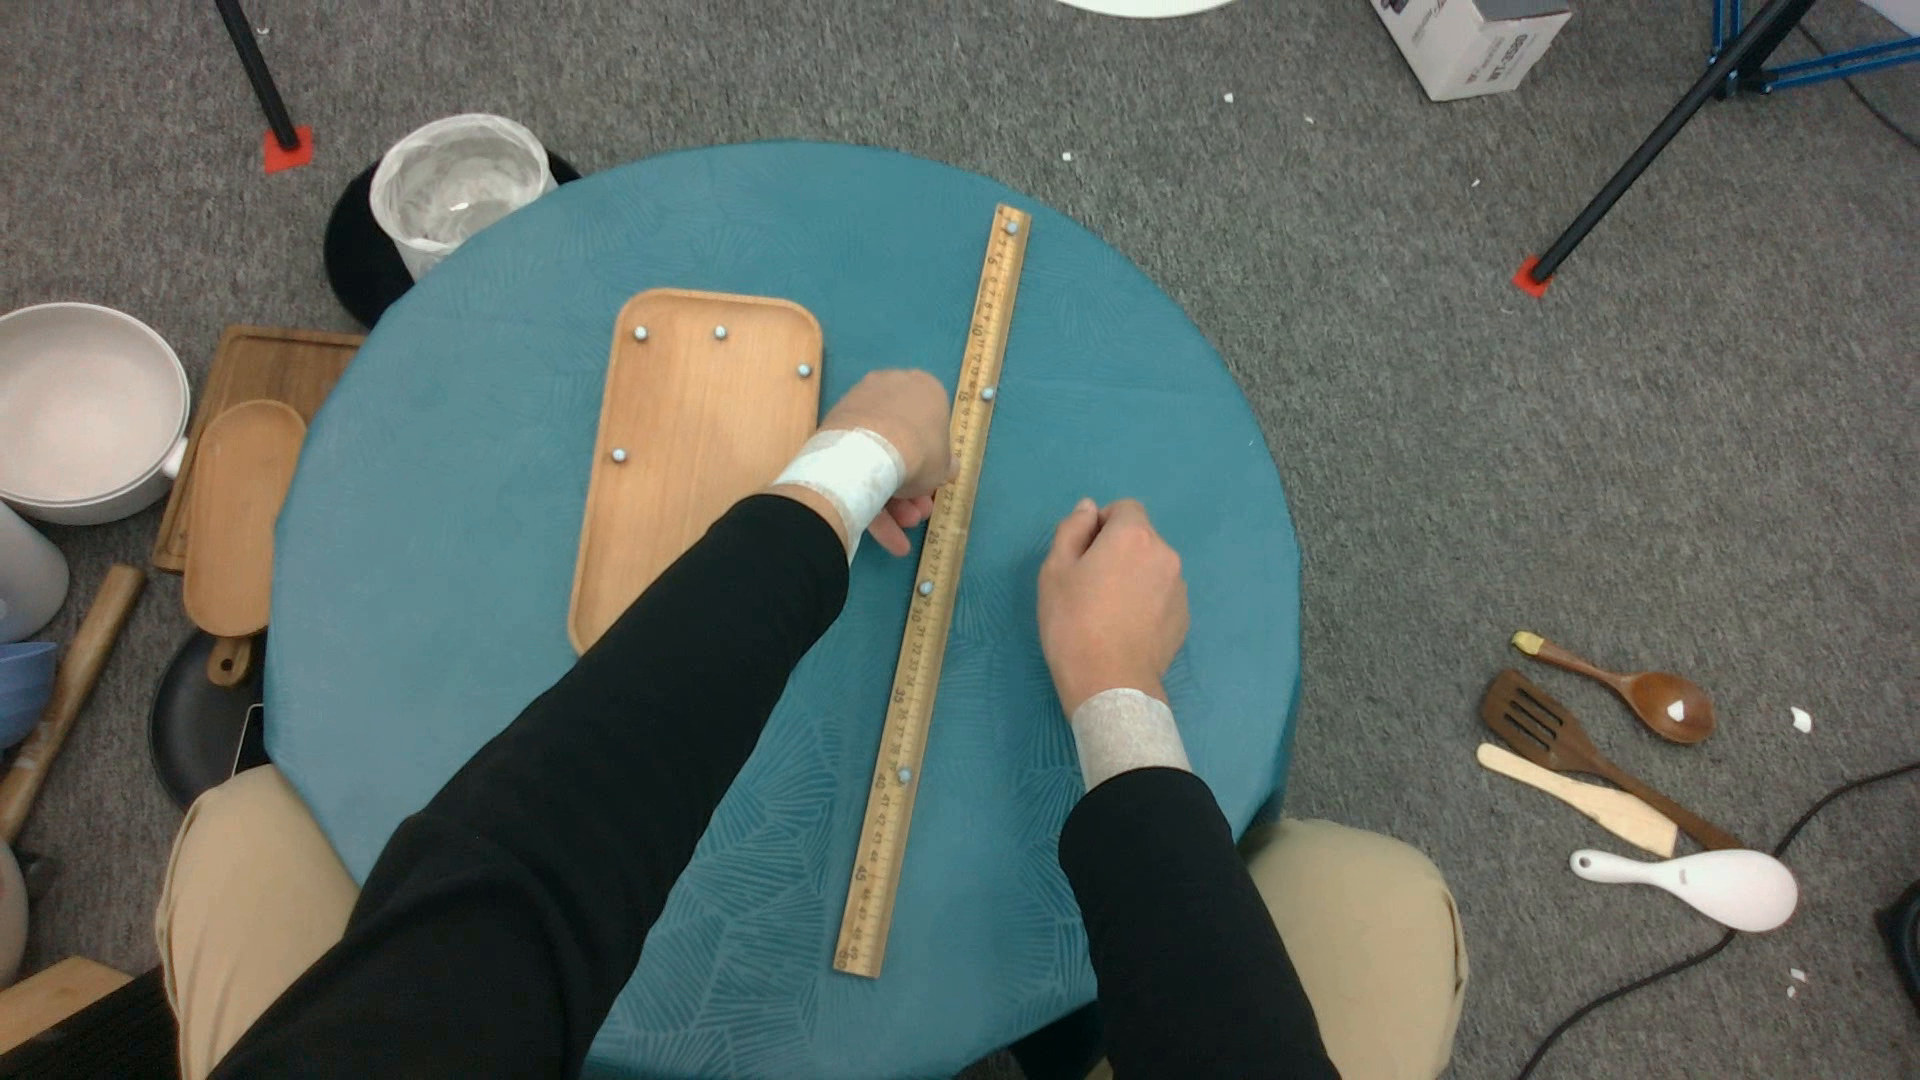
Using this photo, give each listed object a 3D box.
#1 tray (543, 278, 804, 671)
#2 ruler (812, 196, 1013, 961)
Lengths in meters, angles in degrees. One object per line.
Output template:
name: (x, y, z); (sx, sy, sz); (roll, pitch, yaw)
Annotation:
tray: (-0.164, -0.043, 0.814); (0.130, 0.023, 0.251); (4, 66, -3)
ruler: (-0.021, -0.006, 0.821); (0.027, 0.006, 0.502); (17, 64, -11)
